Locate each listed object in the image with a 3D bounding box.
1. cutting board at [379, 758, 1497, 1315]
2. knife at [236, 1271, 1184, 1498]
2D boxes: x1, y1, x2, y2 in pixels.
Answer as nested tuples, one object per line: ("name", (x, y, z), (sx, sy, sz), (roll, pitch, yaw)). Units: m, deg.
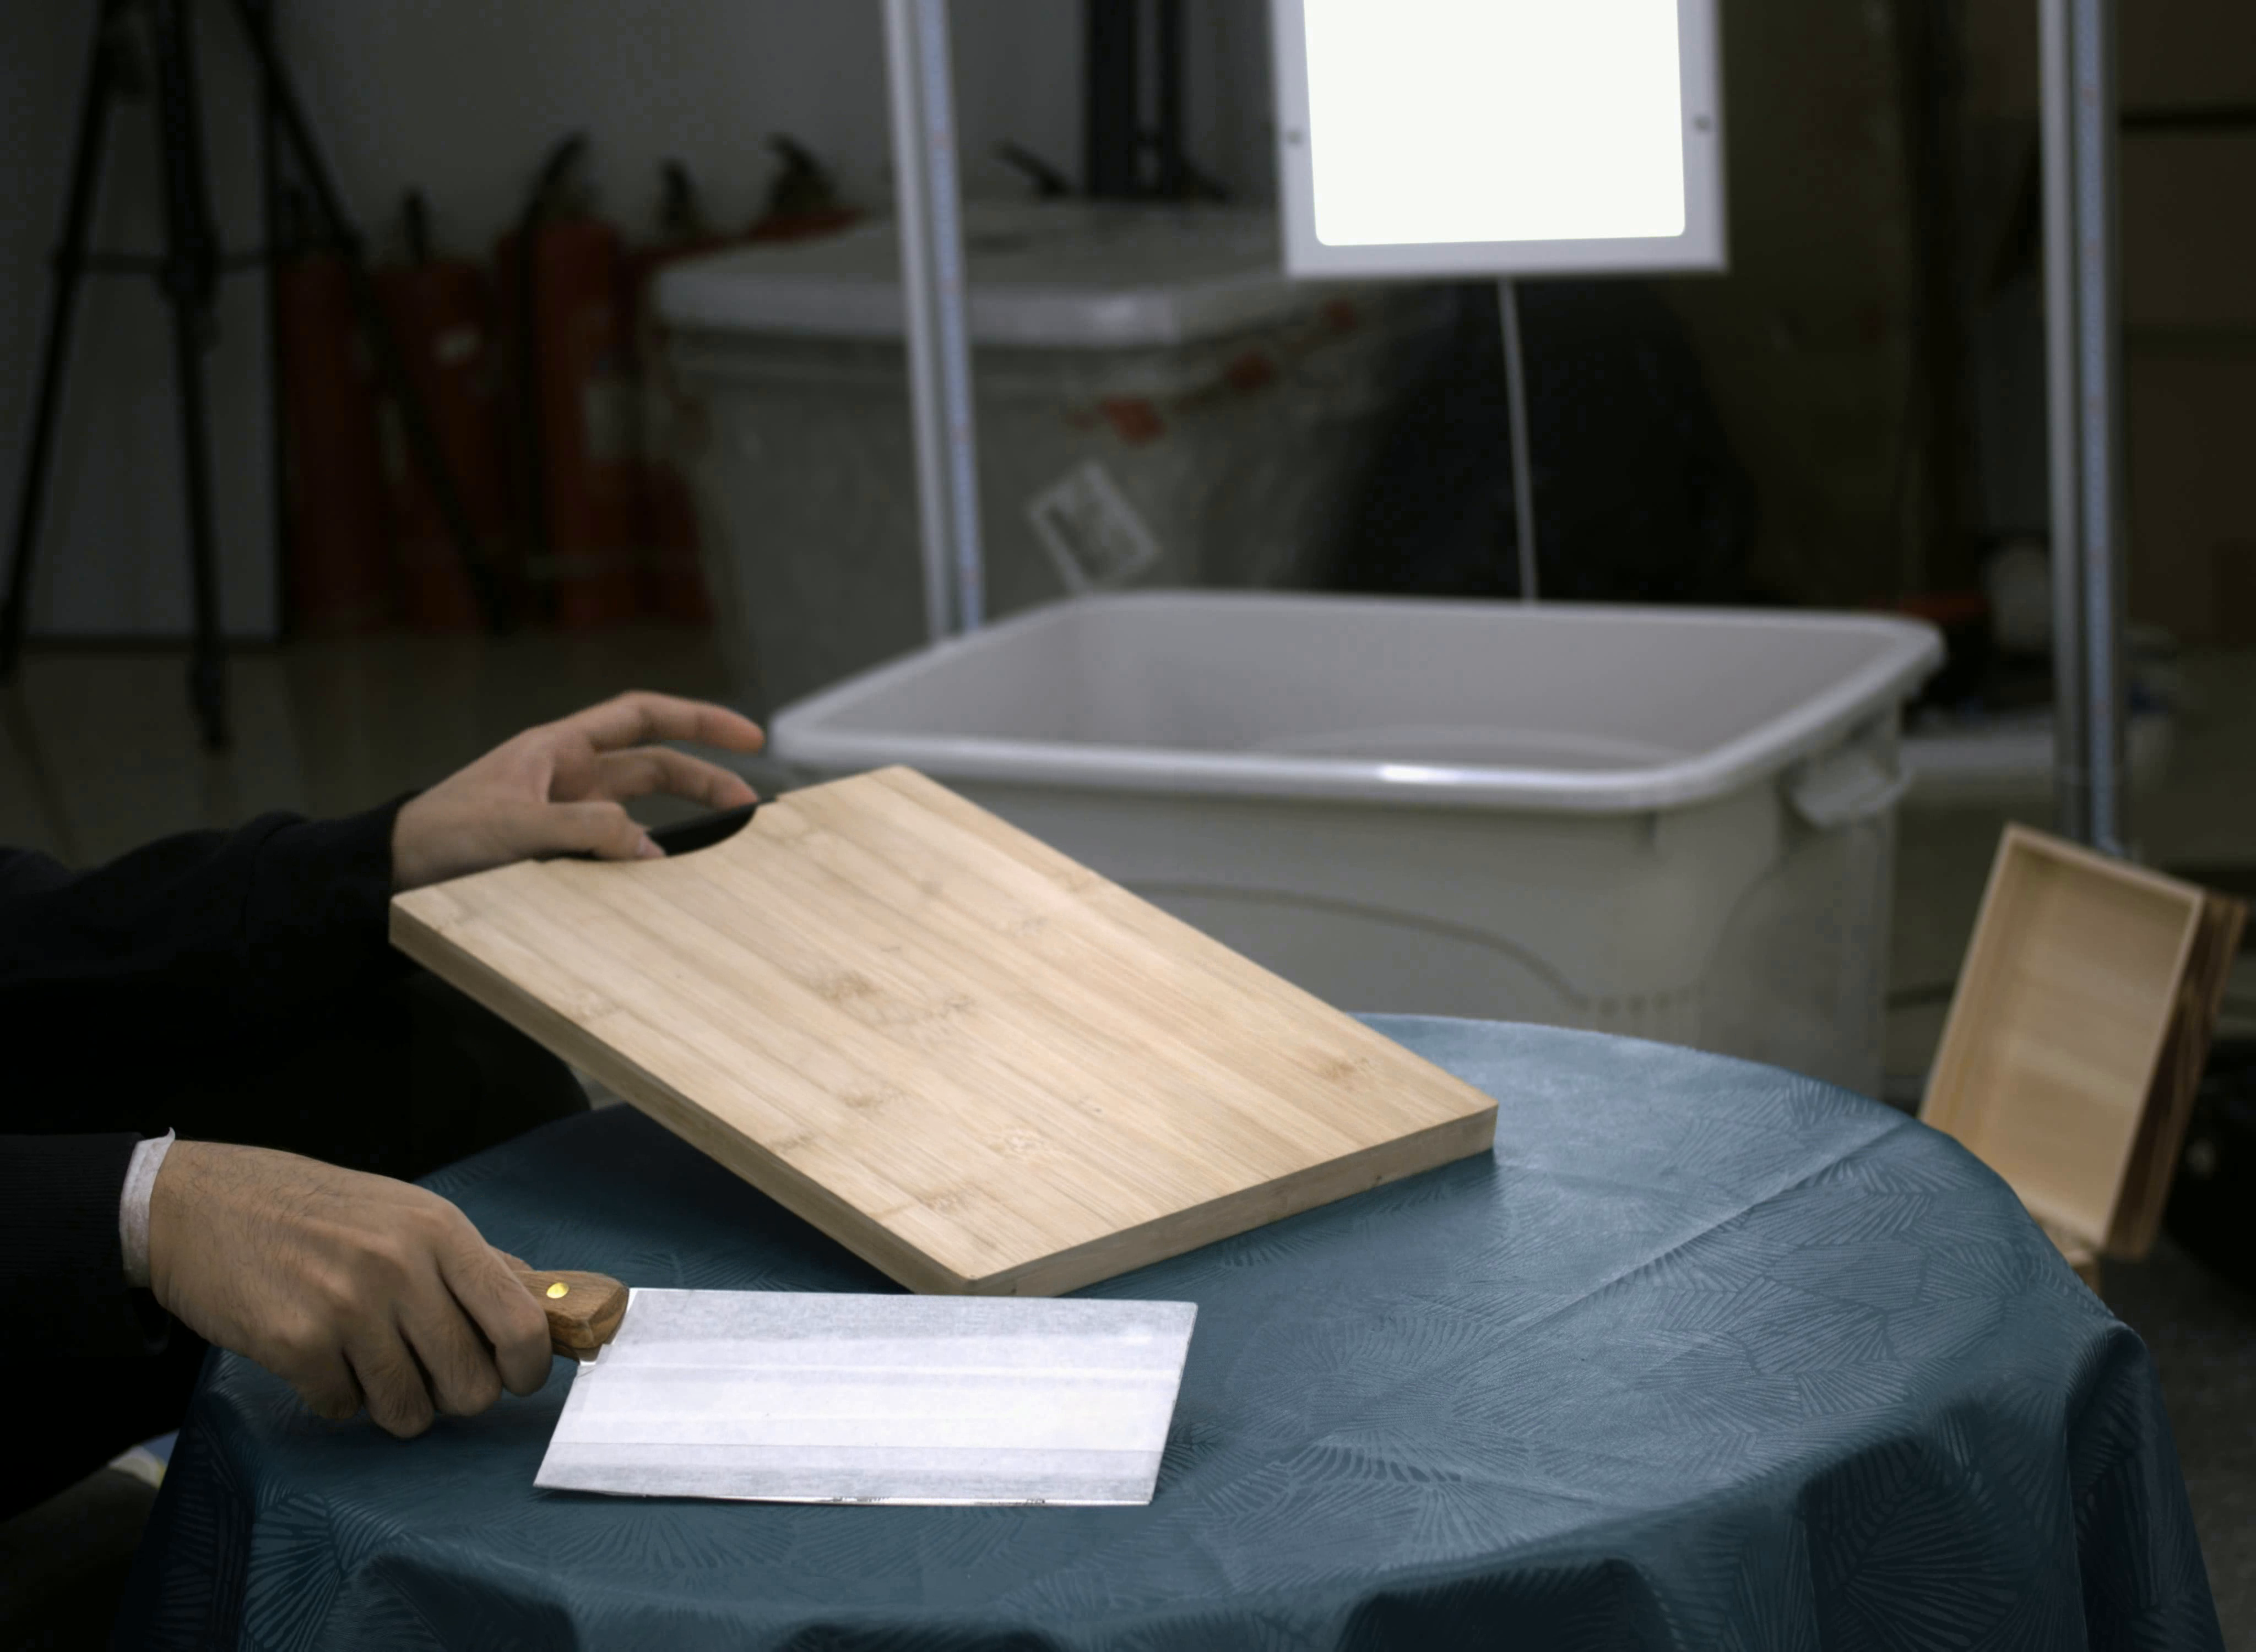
("cutting board", (-0.073, 0.068, 1.962), (0.244, 0.024, 0.355), (-16, 31, -38))
("knife", (-0.134, 0.171, 1.679), (0.308, 0.021, 0.092), (0, 37, 15))
